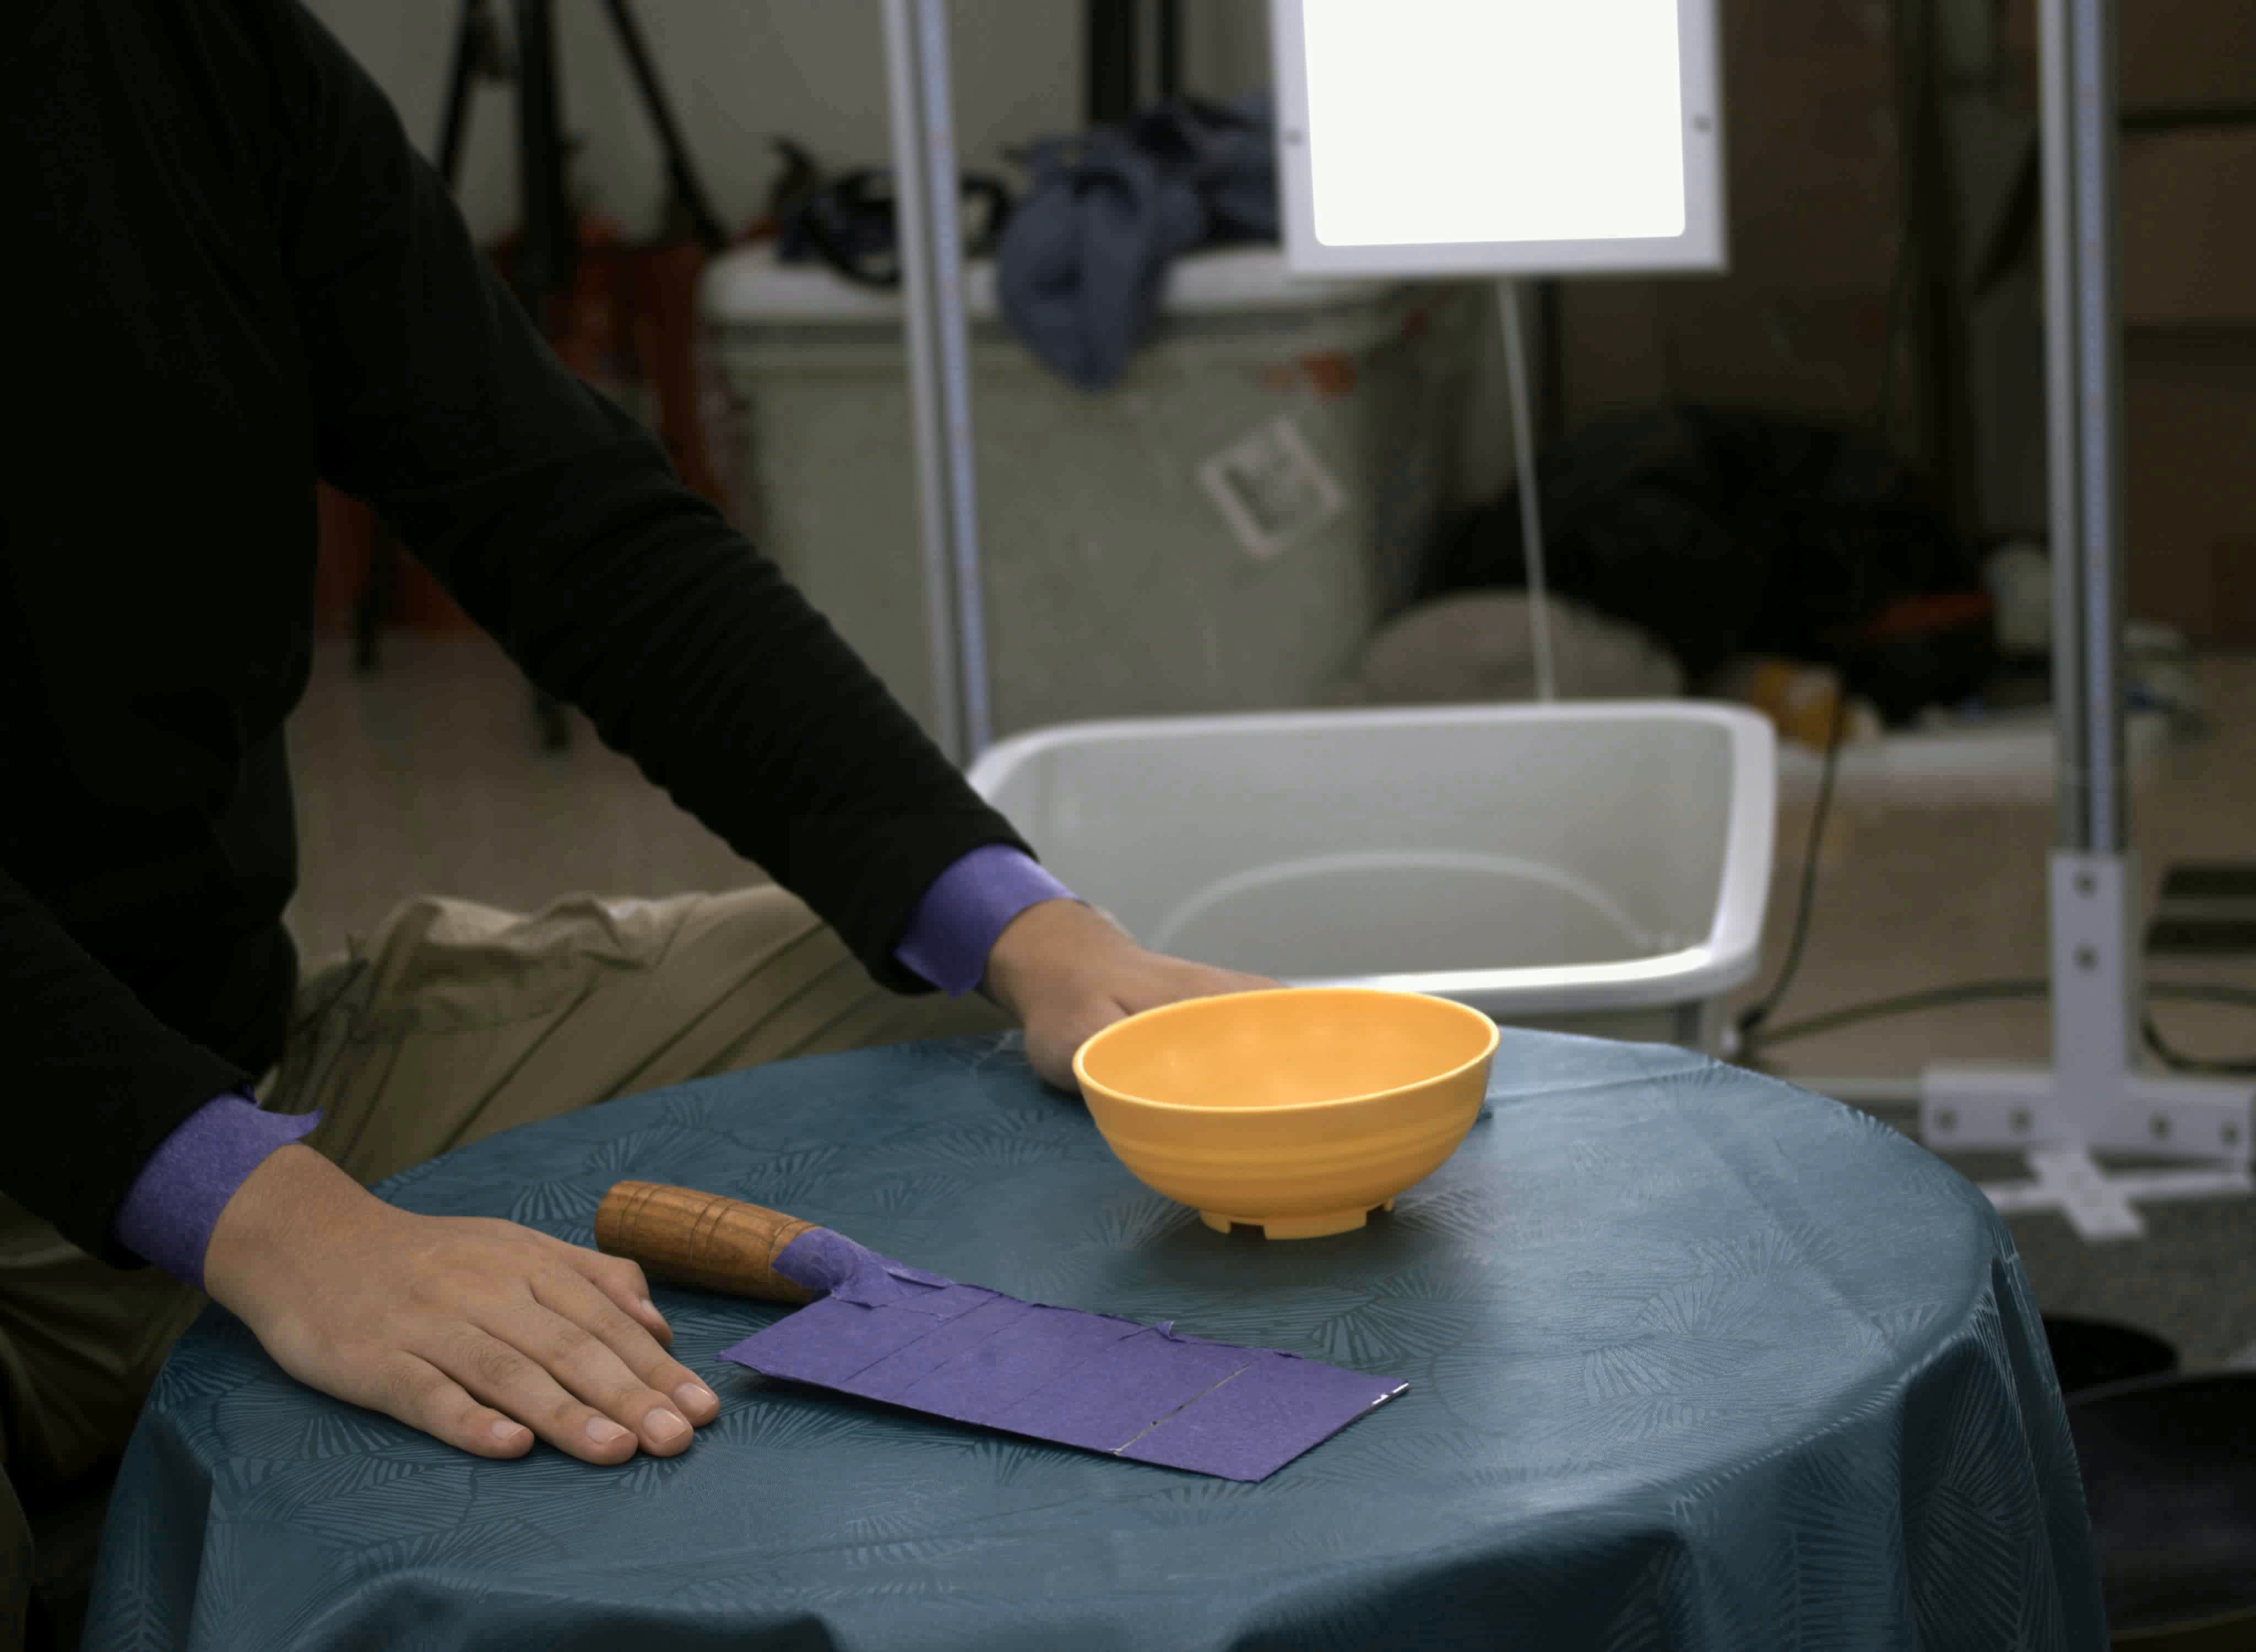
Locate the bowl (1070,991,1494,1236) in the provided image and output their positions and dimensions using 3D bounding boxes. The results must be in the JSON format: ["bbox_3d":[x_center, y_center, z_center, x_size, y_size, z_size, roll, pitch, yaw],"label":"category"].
[{"bbox_3d":[0.053,0.101,1.856,0.145,0.060,0.145,-3,13,-1],"label":"bowl"}]

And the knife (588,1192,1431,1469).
[{"bbox_3d":[-0.061,0.158,1.739,0.322,0.032,0.101,6,17,36],"label":"knife"}]
